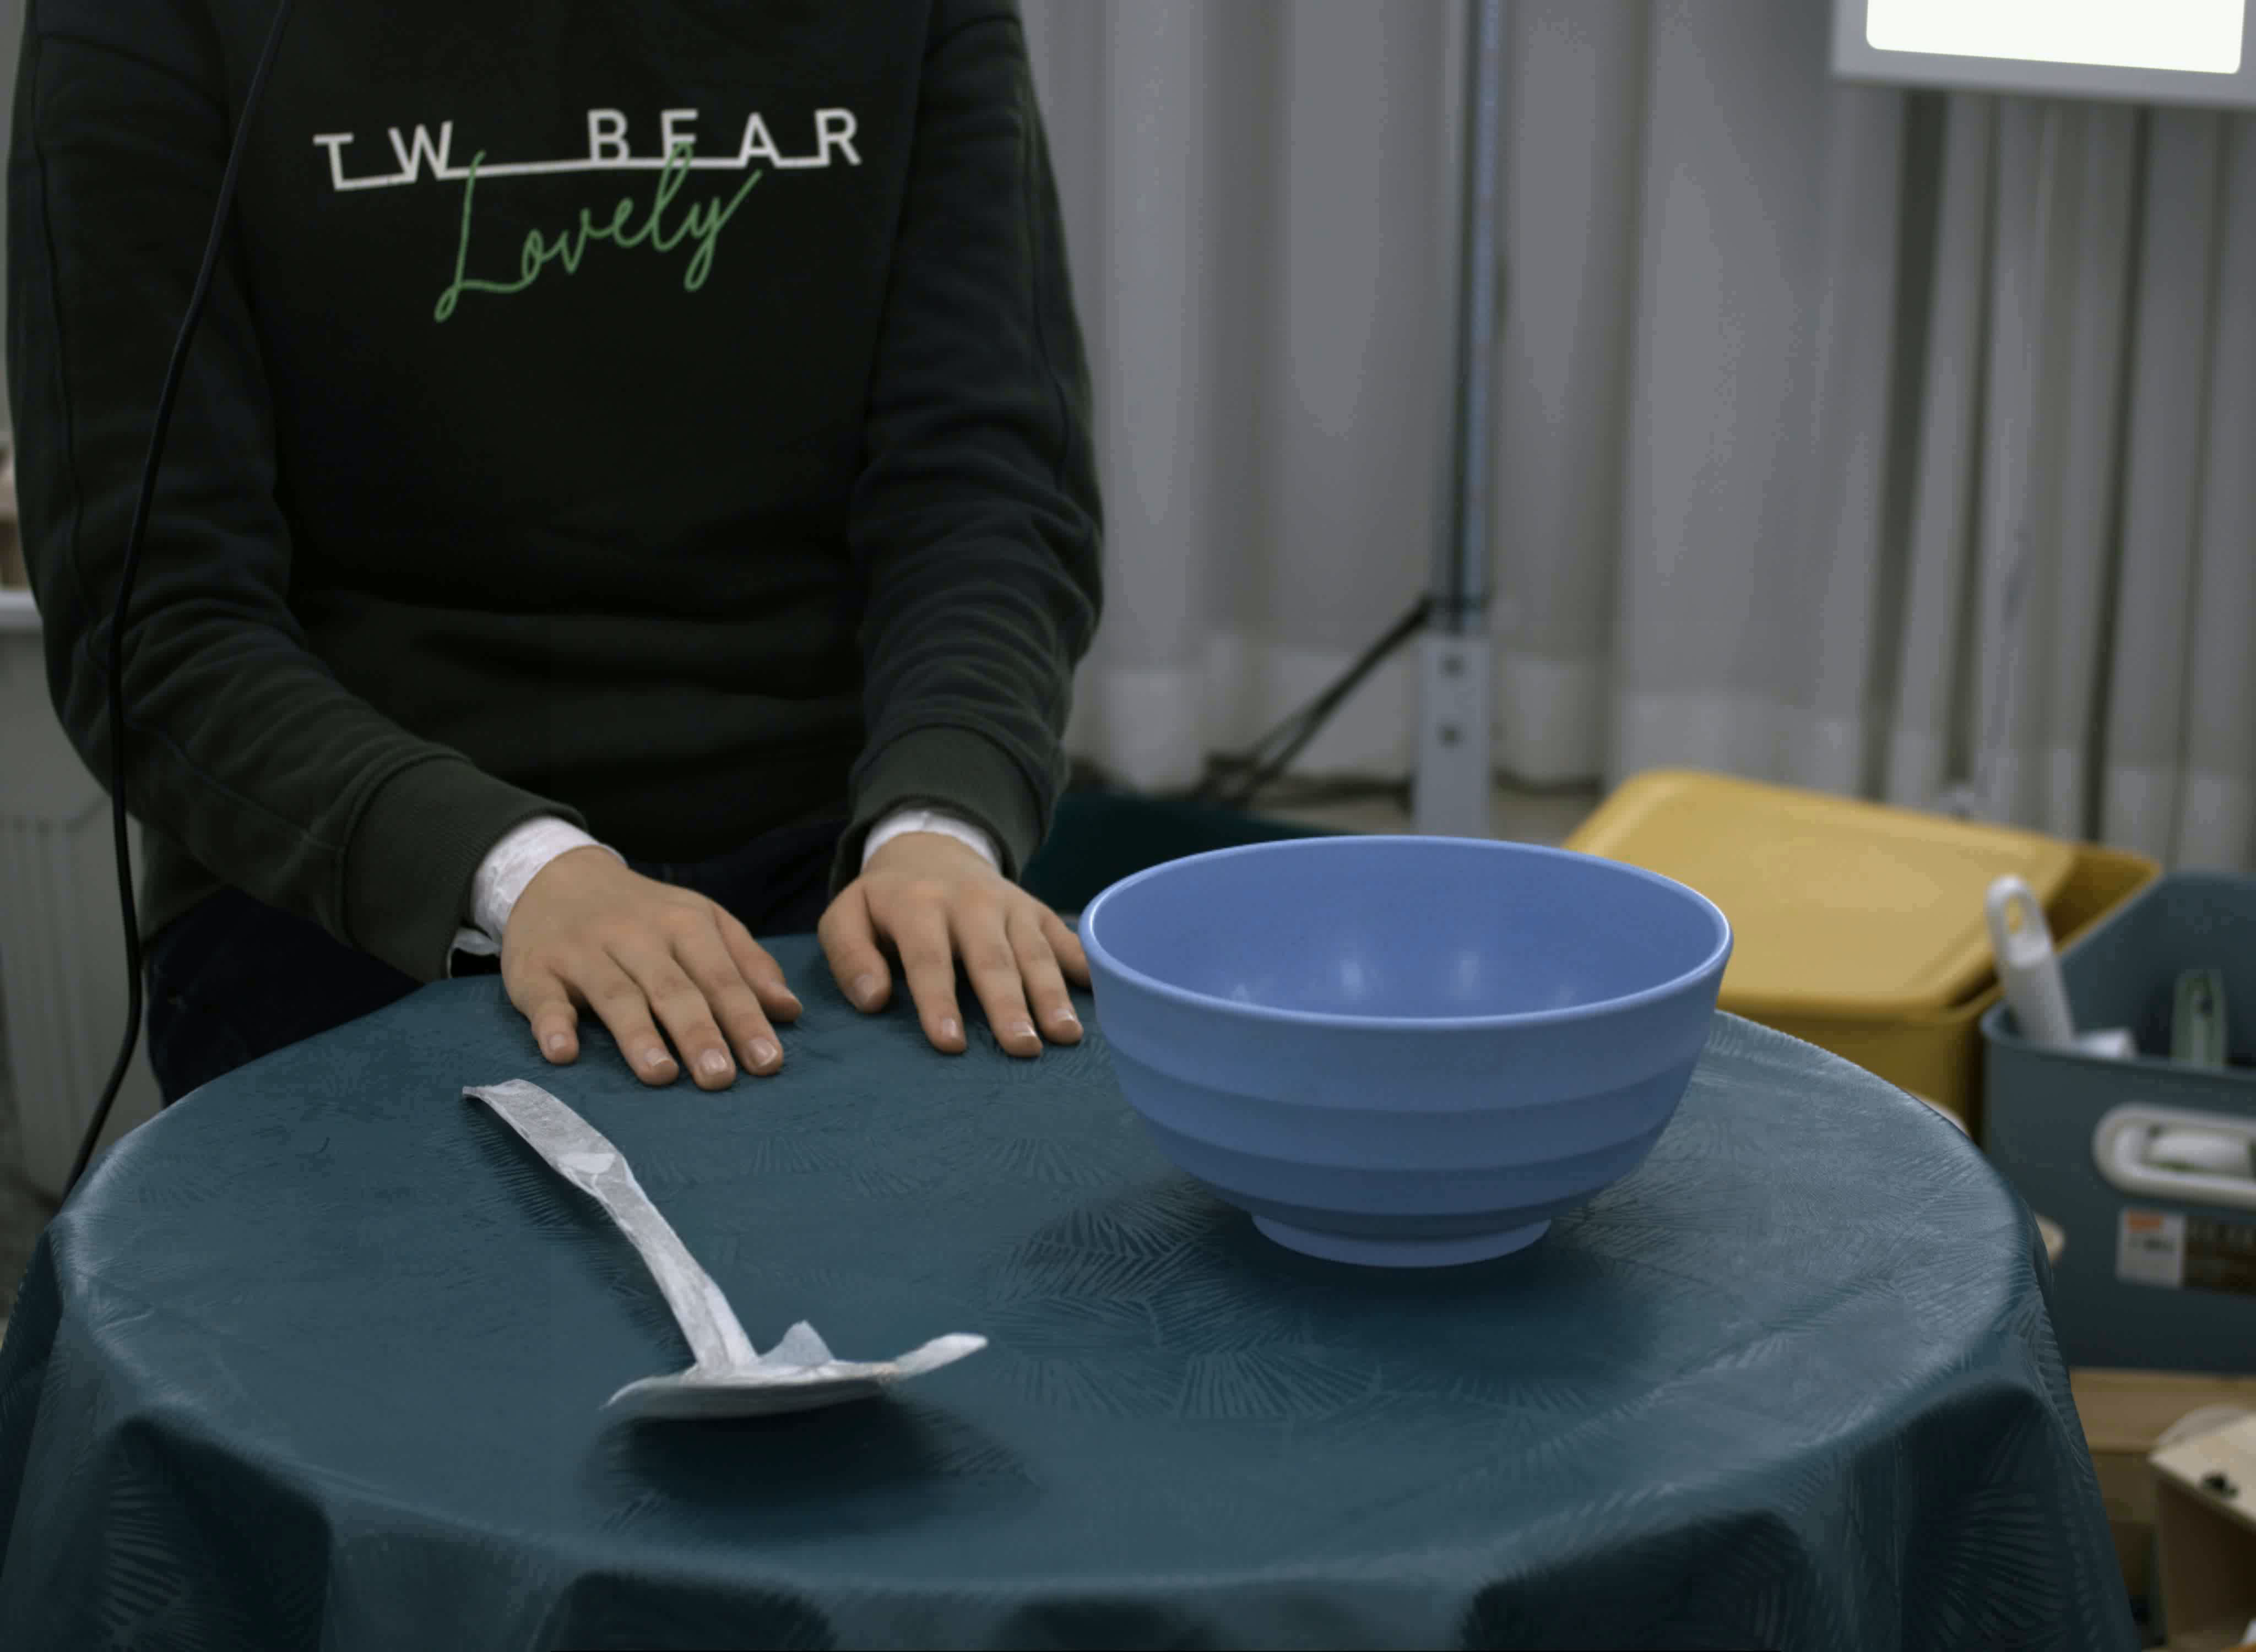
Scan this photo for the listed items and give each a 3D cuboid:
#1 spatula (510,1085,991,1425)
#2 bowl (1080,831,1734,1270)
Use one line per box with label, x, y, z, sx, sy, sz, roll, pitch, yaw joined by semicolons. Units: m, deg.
spatula;-0.136;0.116;1.538;0.099;0.045;0.361;-7;18;-19
bowl;0.084;0.074;1.592;0.196;0.096;0.195;0;17;1
